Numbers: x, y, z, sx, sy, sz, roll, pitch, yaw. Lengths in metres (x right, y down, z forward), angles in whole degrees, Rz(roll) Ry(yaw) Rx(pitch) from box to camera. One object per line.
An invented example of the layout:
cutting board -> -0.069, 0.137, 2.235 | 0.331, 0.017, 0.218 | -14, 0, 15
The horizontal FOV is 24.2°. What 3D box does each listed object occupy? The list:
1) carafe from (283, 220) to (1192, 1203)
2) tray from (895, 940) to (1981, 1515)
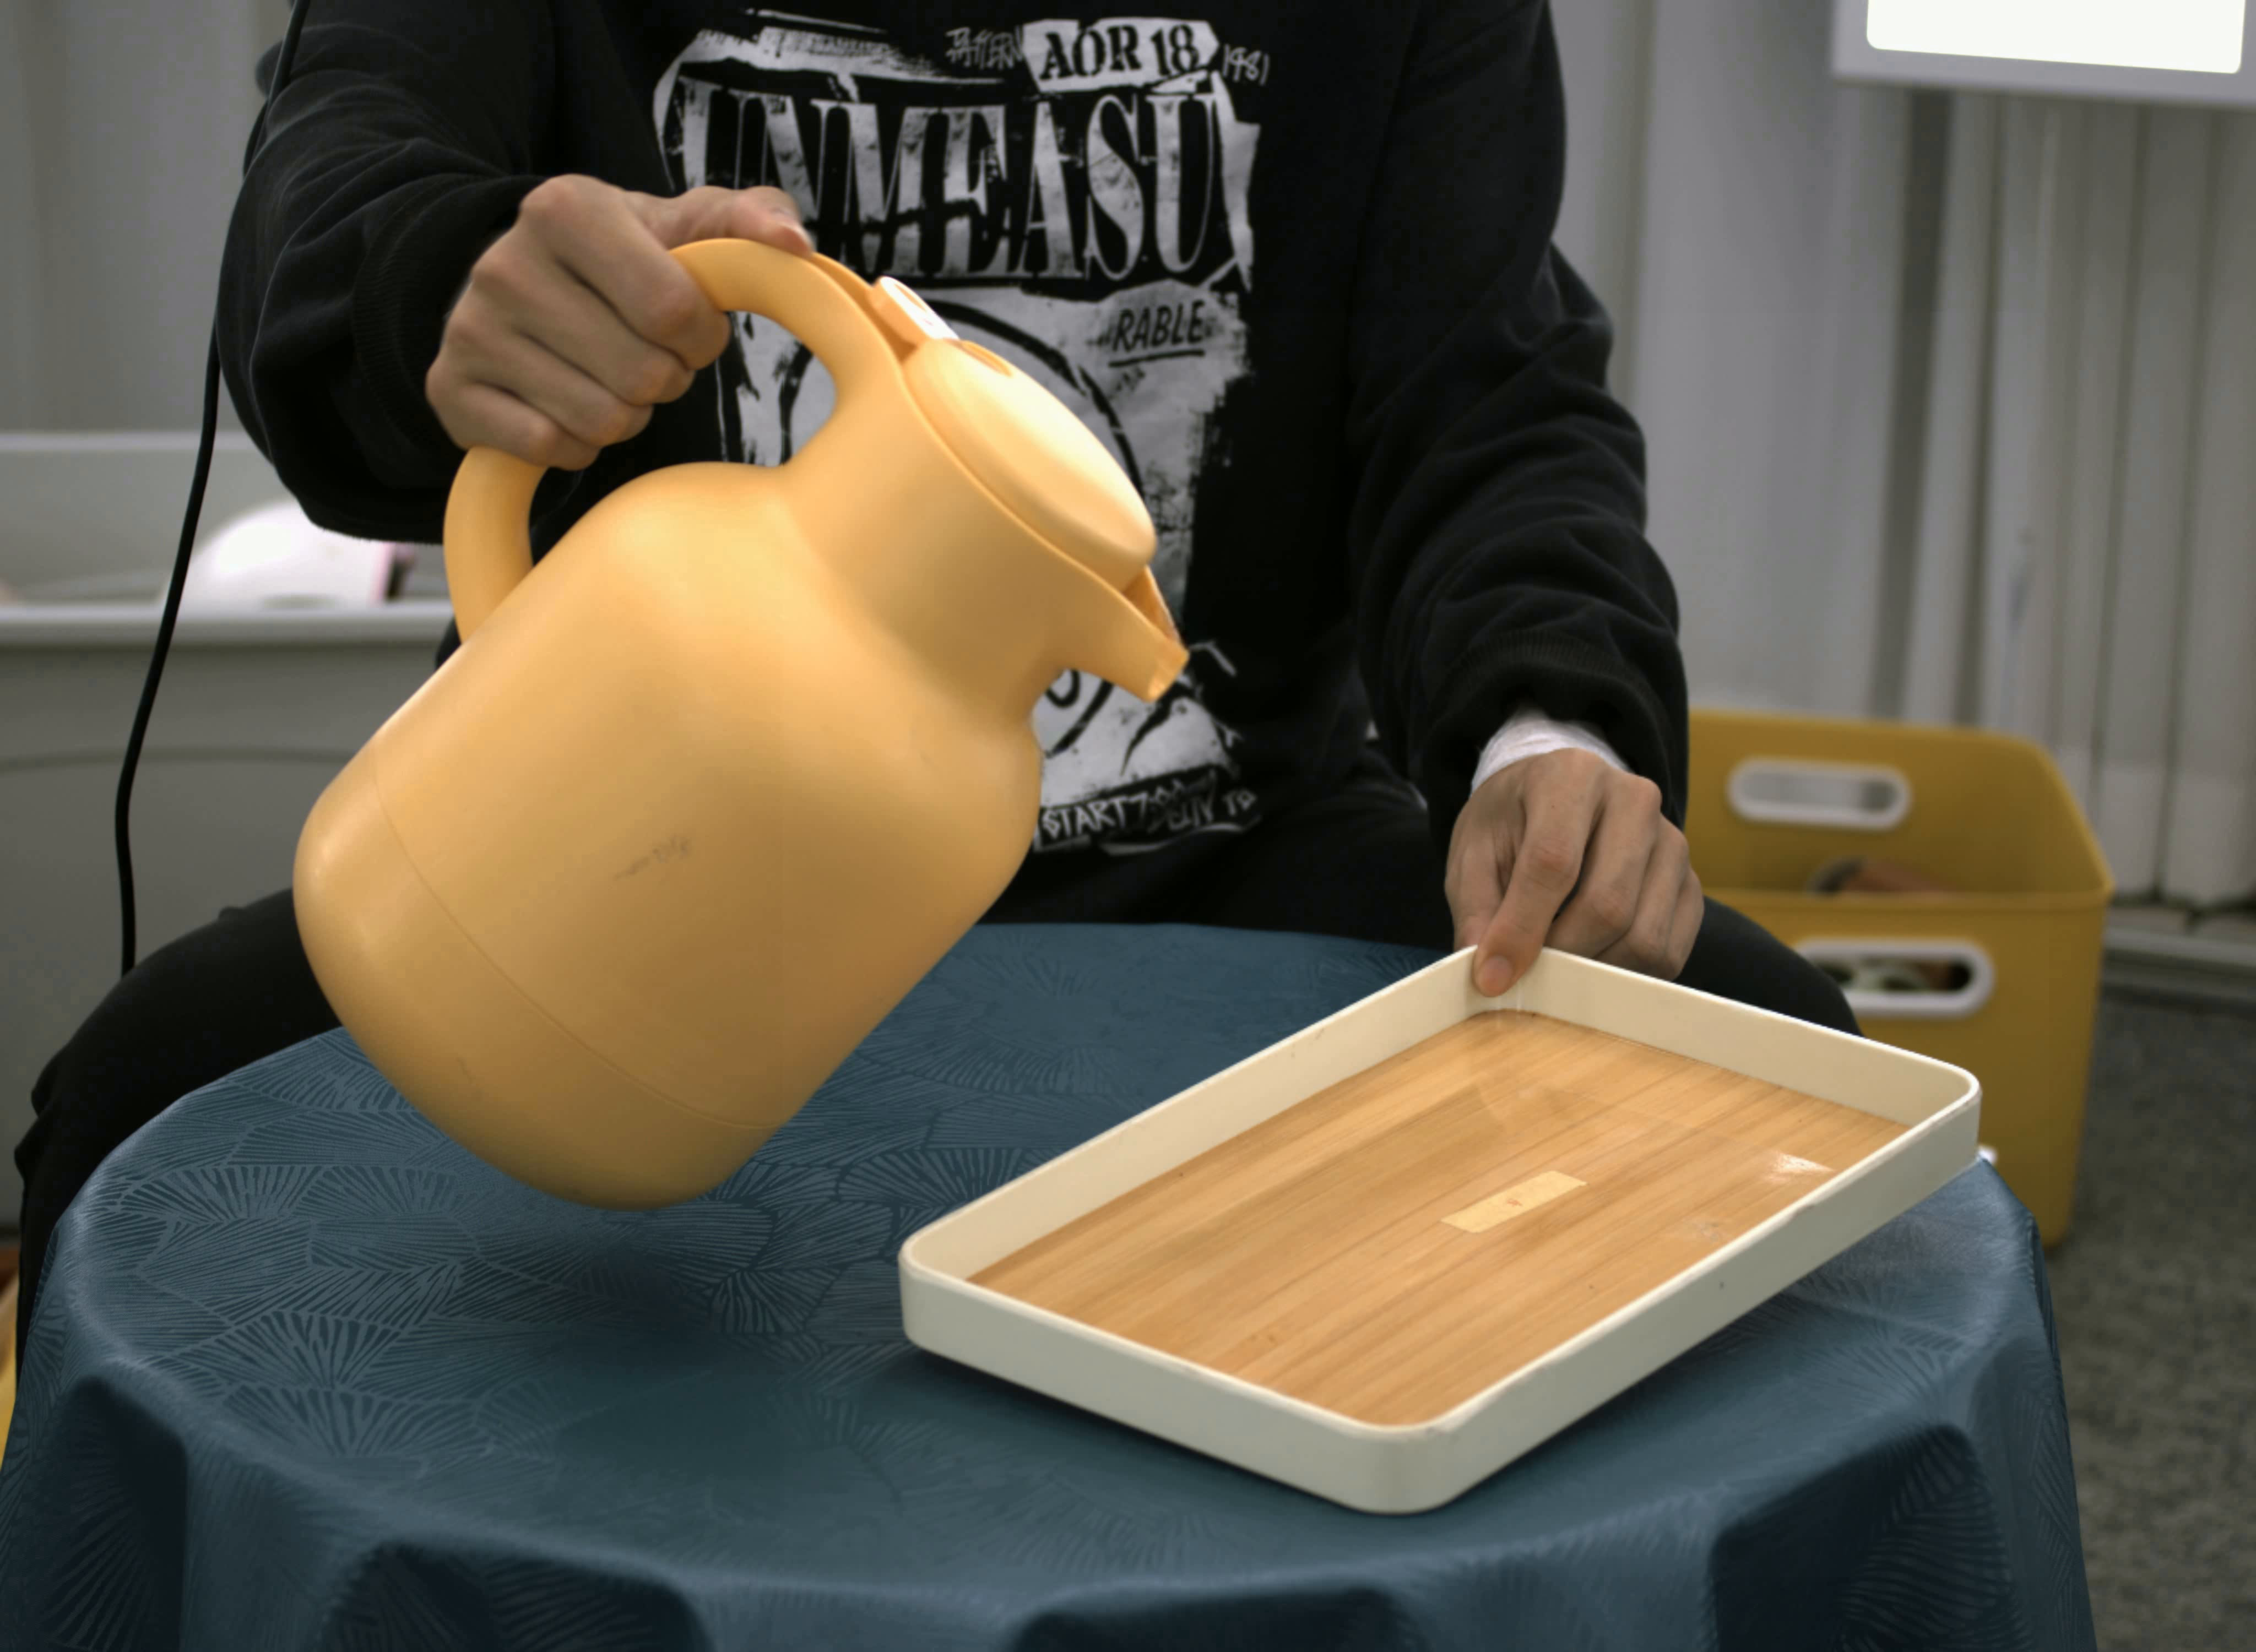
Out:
carafe -> -0.118, -0.040, 1.492 | 0.201, 0.260, 0.164 | 49, 14, 13
tray -> 0.095, 0.109, 1.527 | 0.189, 0.027, 0.301 | 17, 27, 36
